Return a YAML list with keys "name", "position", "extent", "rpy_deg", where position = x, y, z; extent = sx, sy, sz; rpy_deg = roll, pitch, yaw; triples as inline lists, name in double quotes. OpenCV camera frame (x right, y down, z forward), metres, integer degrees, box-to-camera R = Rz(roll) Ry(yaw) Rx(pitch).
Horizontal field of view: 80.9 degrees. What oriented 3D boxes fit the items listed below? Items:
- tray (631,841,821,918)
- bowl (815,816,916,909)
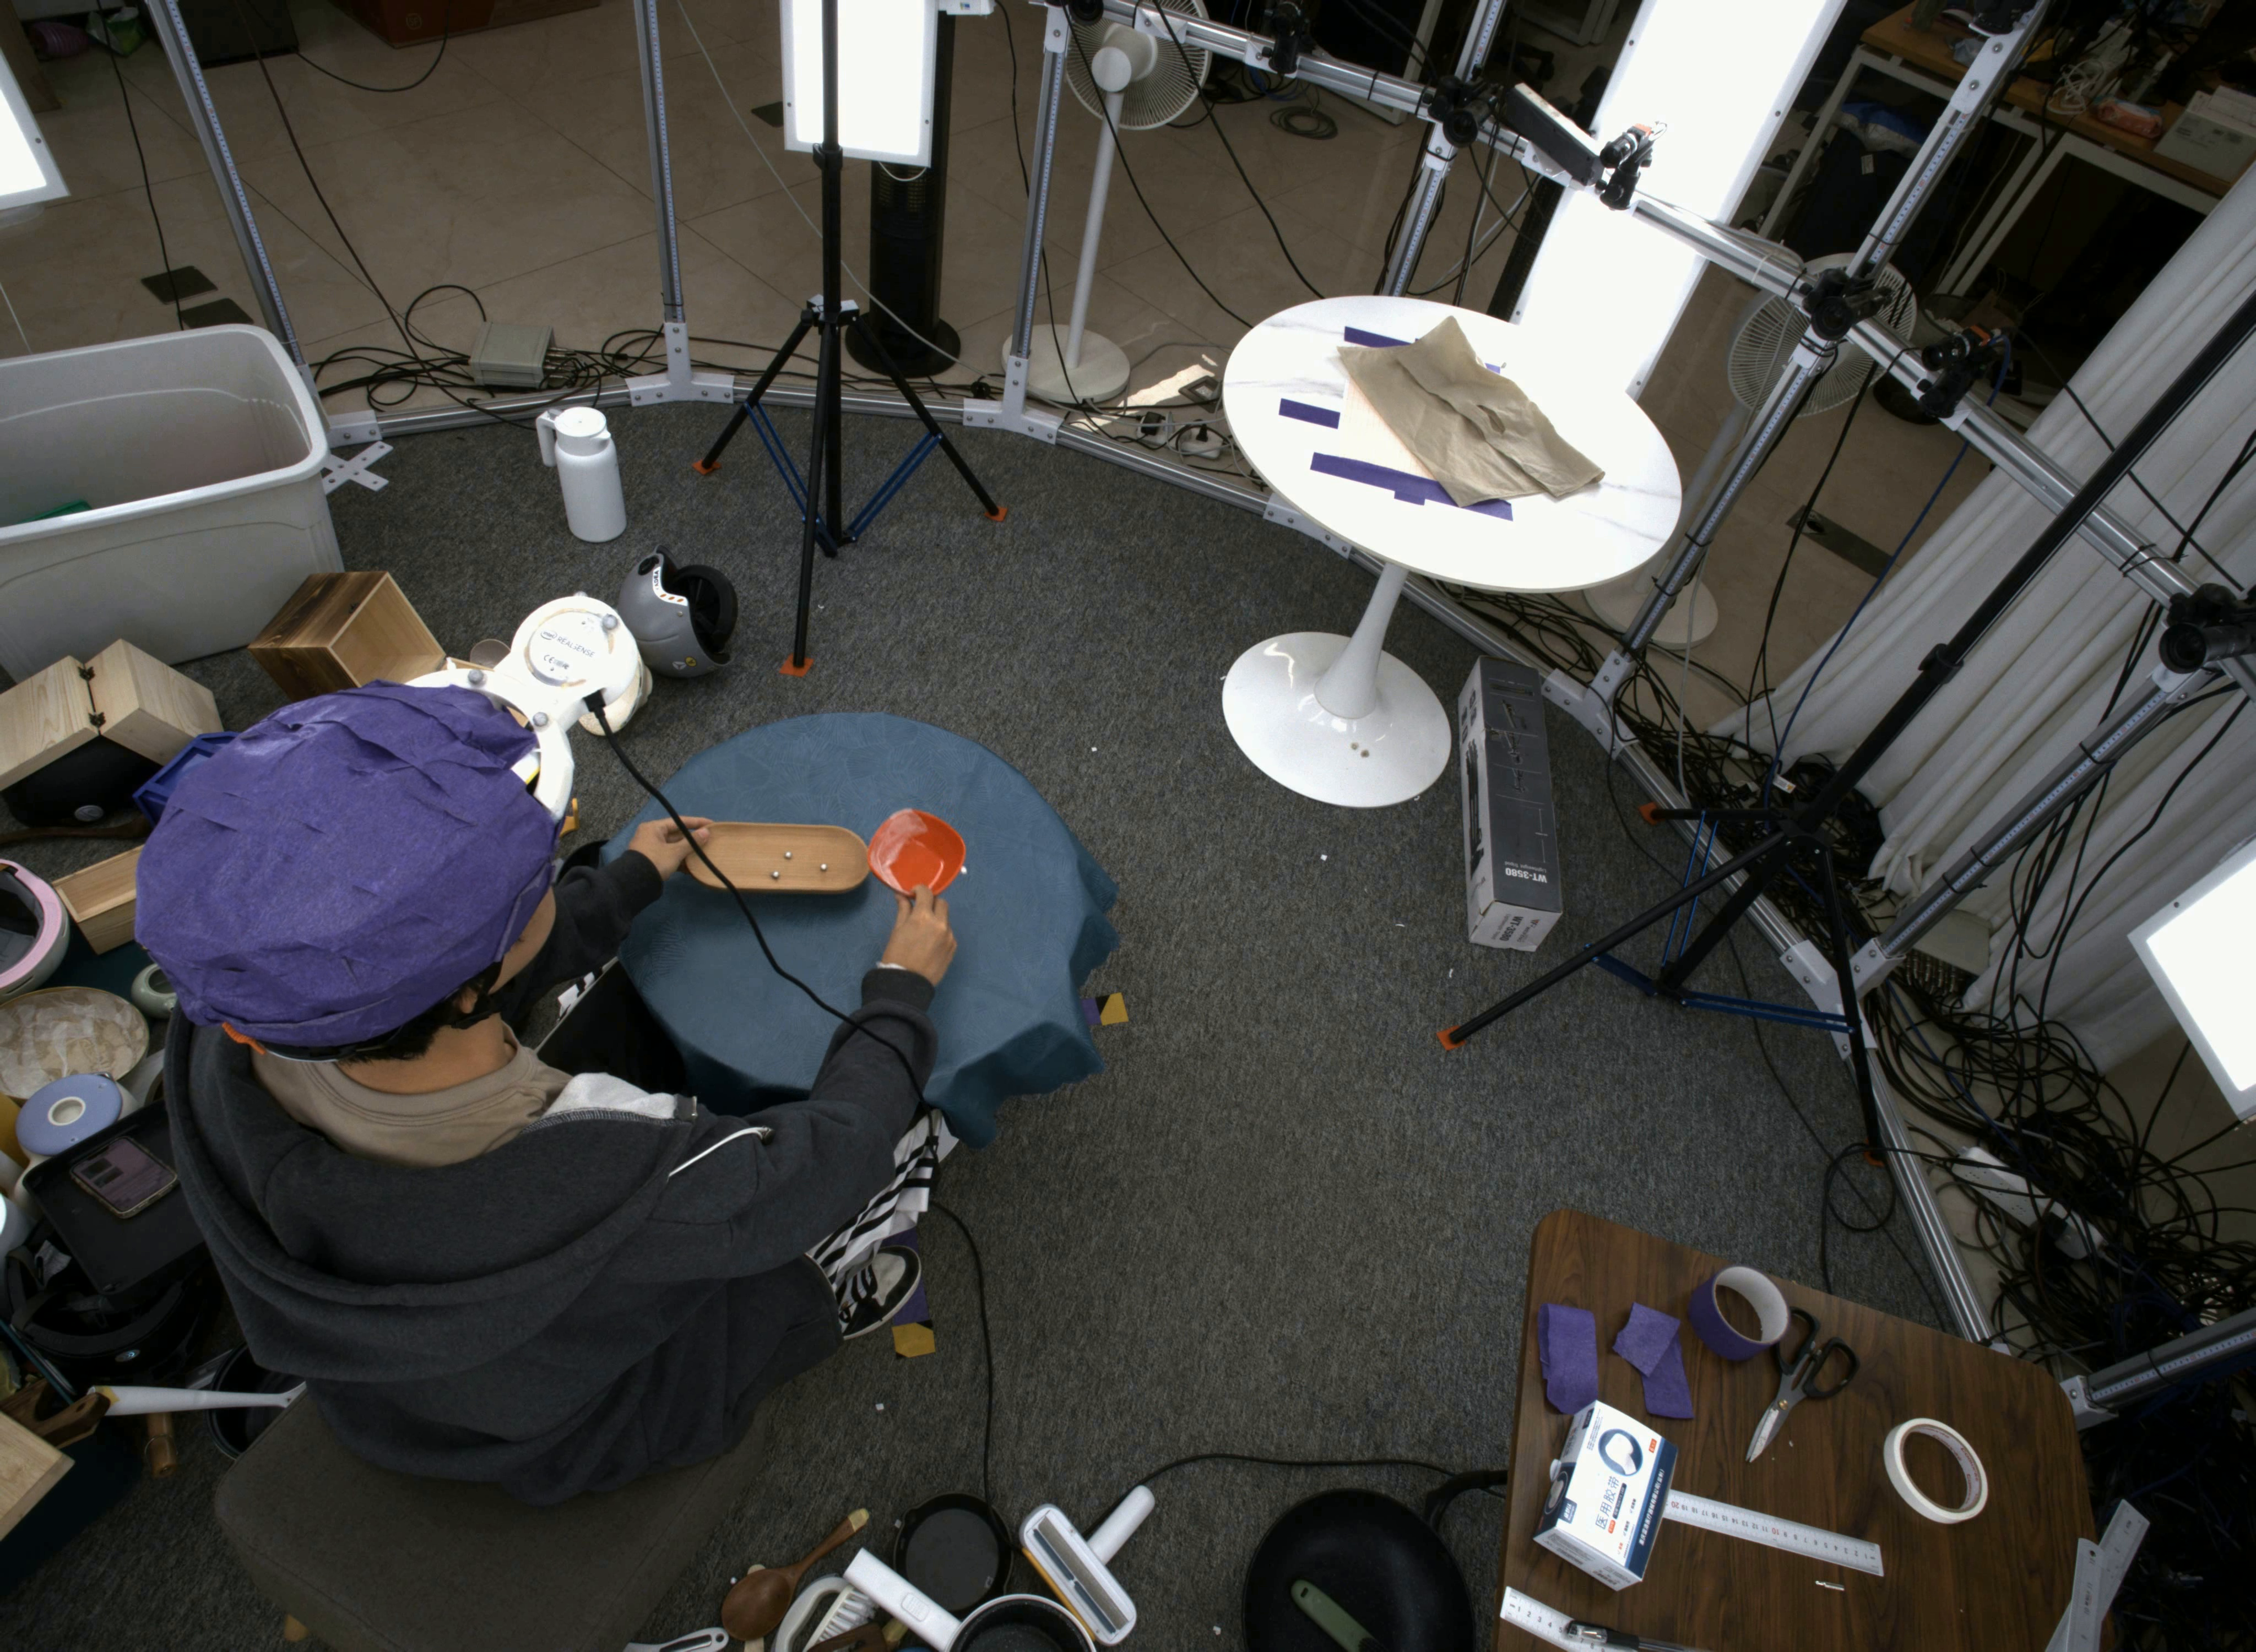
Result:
- name: "tray"
  position: [-0.498, 0.065, 1.603]
  extent: [0.233, 0.020, 0.099]
  rpy_deg: [-2, 56, -24]
- name: "bowl"
  position: [-0.314, 0.050, 1.547]
  extent: [0.119, 0.052, 0.117]
  rpy_deg: [9, 61, -14]
